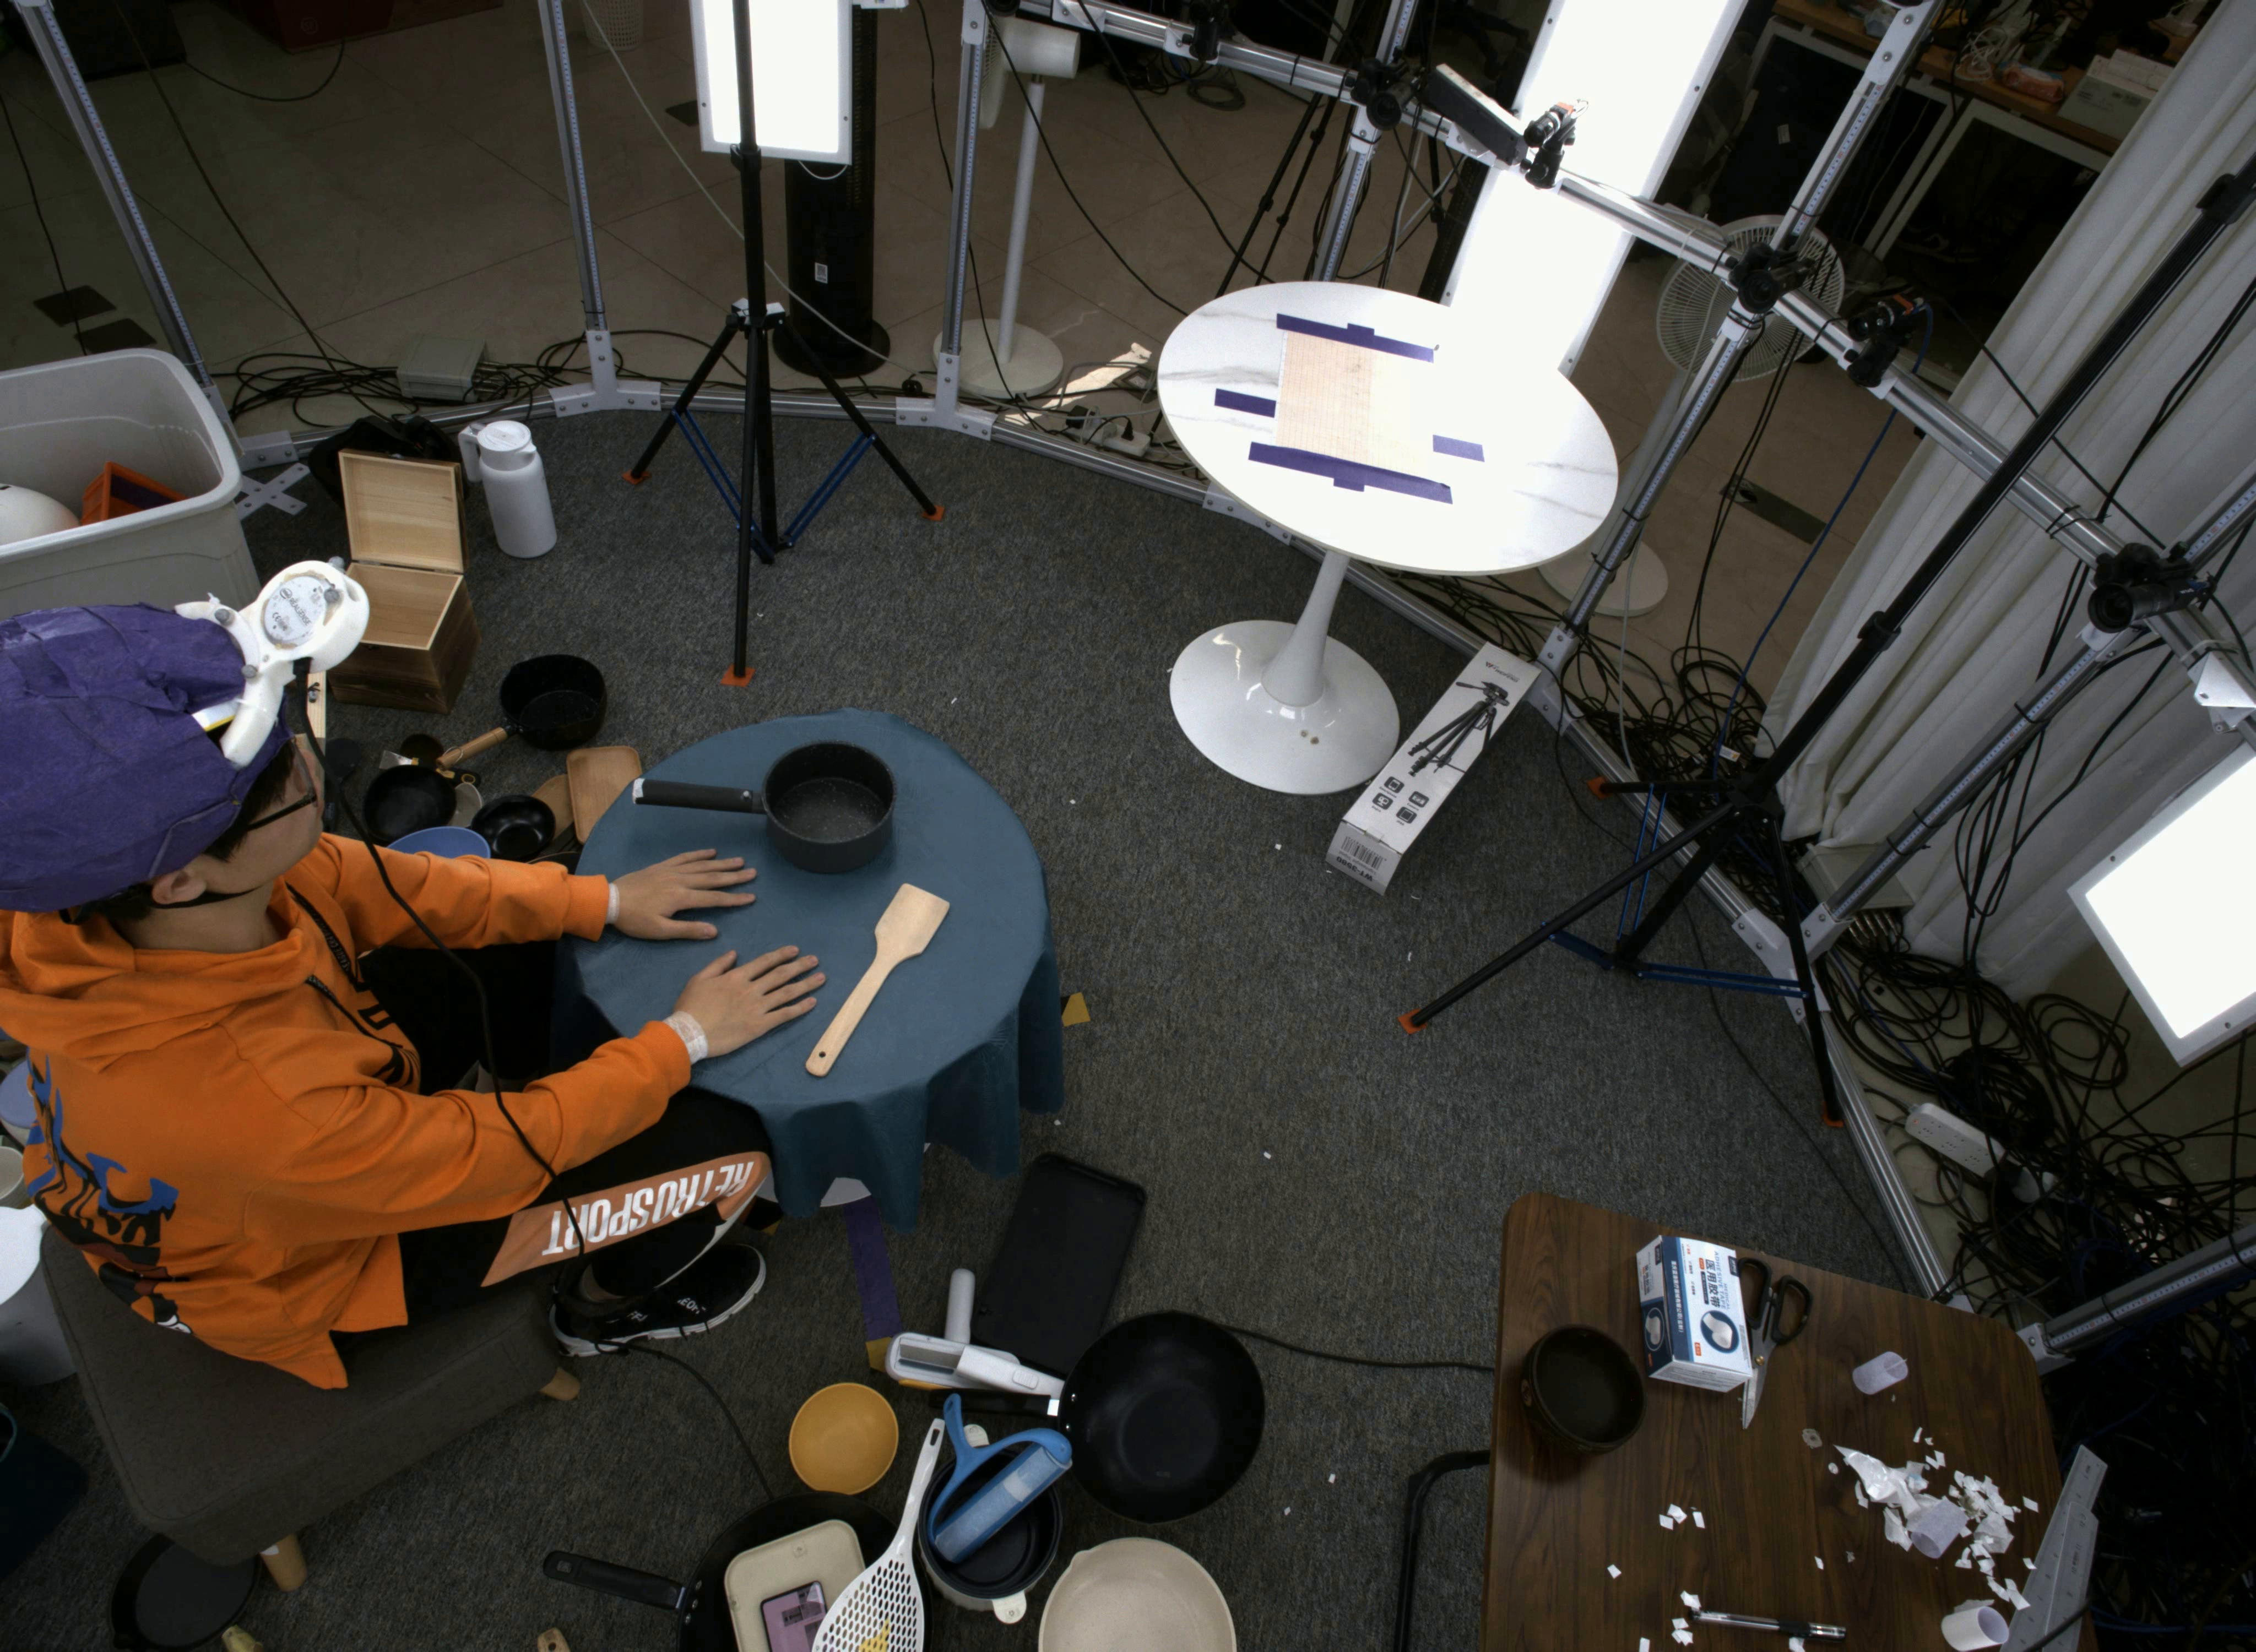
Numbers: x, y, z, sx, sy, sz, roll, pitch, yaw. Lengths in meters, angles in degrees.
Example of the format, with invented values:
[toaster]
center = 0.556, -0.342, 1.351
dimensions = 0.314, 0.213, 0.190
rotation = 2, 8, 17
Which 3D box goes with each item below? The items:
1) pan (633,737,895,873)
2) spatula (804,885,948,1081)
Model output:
[pan]
center = -0.468, -0.029, 1.669
dimensions = 0.330, 0.088, 0.168
rotation = 2, 52, -15
[spatula]
center = -0.314, 0.190, 1.595
dimensions = 0.071, 0.011, 0.291
rotation = 27, 52, 1
